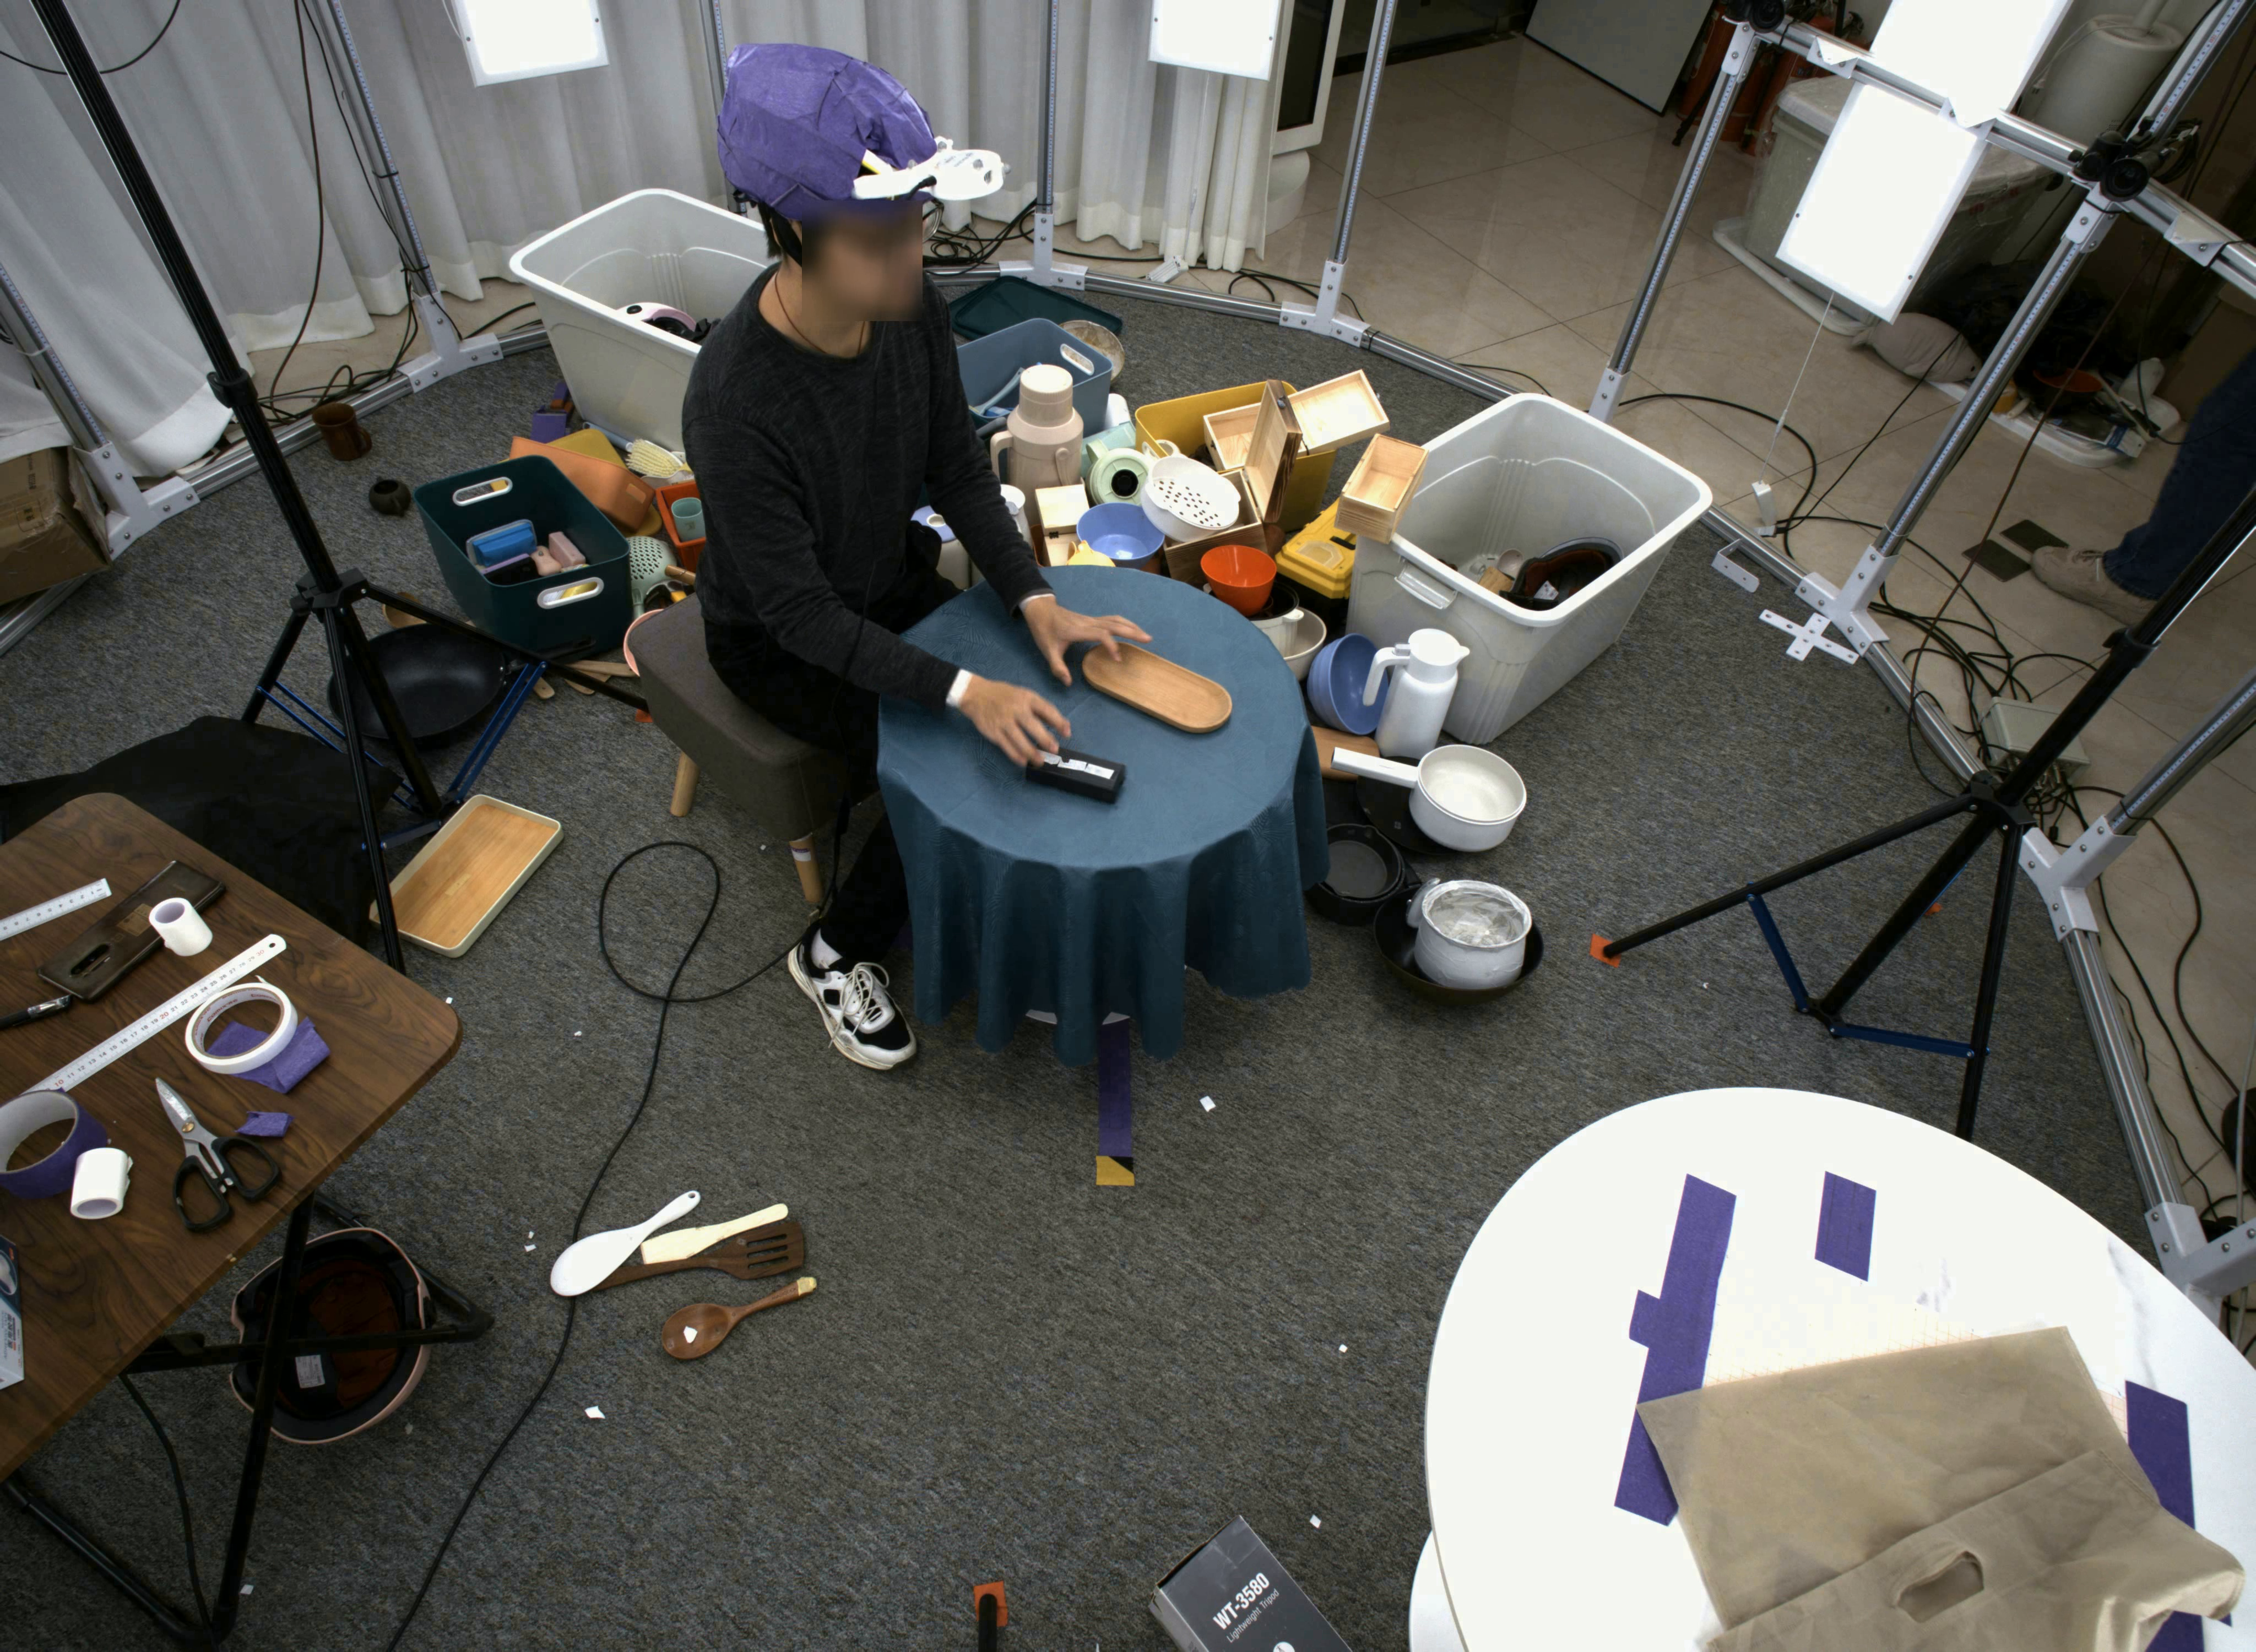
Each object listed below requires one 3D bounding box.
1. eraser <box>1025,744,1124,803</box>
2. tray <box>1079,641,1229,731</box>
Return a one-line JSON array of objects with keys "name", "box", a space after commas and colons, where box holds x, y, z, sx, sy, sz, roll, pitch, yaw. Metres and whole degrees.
[{"name": "eraser", "box": [-0.070, -0.071, 1.709, 0.126, 0.030, 0.054, 15, 48, 10]}, {"name": "tray", "box": [0.036, -0.201, 1.836, 0.233, 0.020, 0.103, 25, 51, 19]}]
